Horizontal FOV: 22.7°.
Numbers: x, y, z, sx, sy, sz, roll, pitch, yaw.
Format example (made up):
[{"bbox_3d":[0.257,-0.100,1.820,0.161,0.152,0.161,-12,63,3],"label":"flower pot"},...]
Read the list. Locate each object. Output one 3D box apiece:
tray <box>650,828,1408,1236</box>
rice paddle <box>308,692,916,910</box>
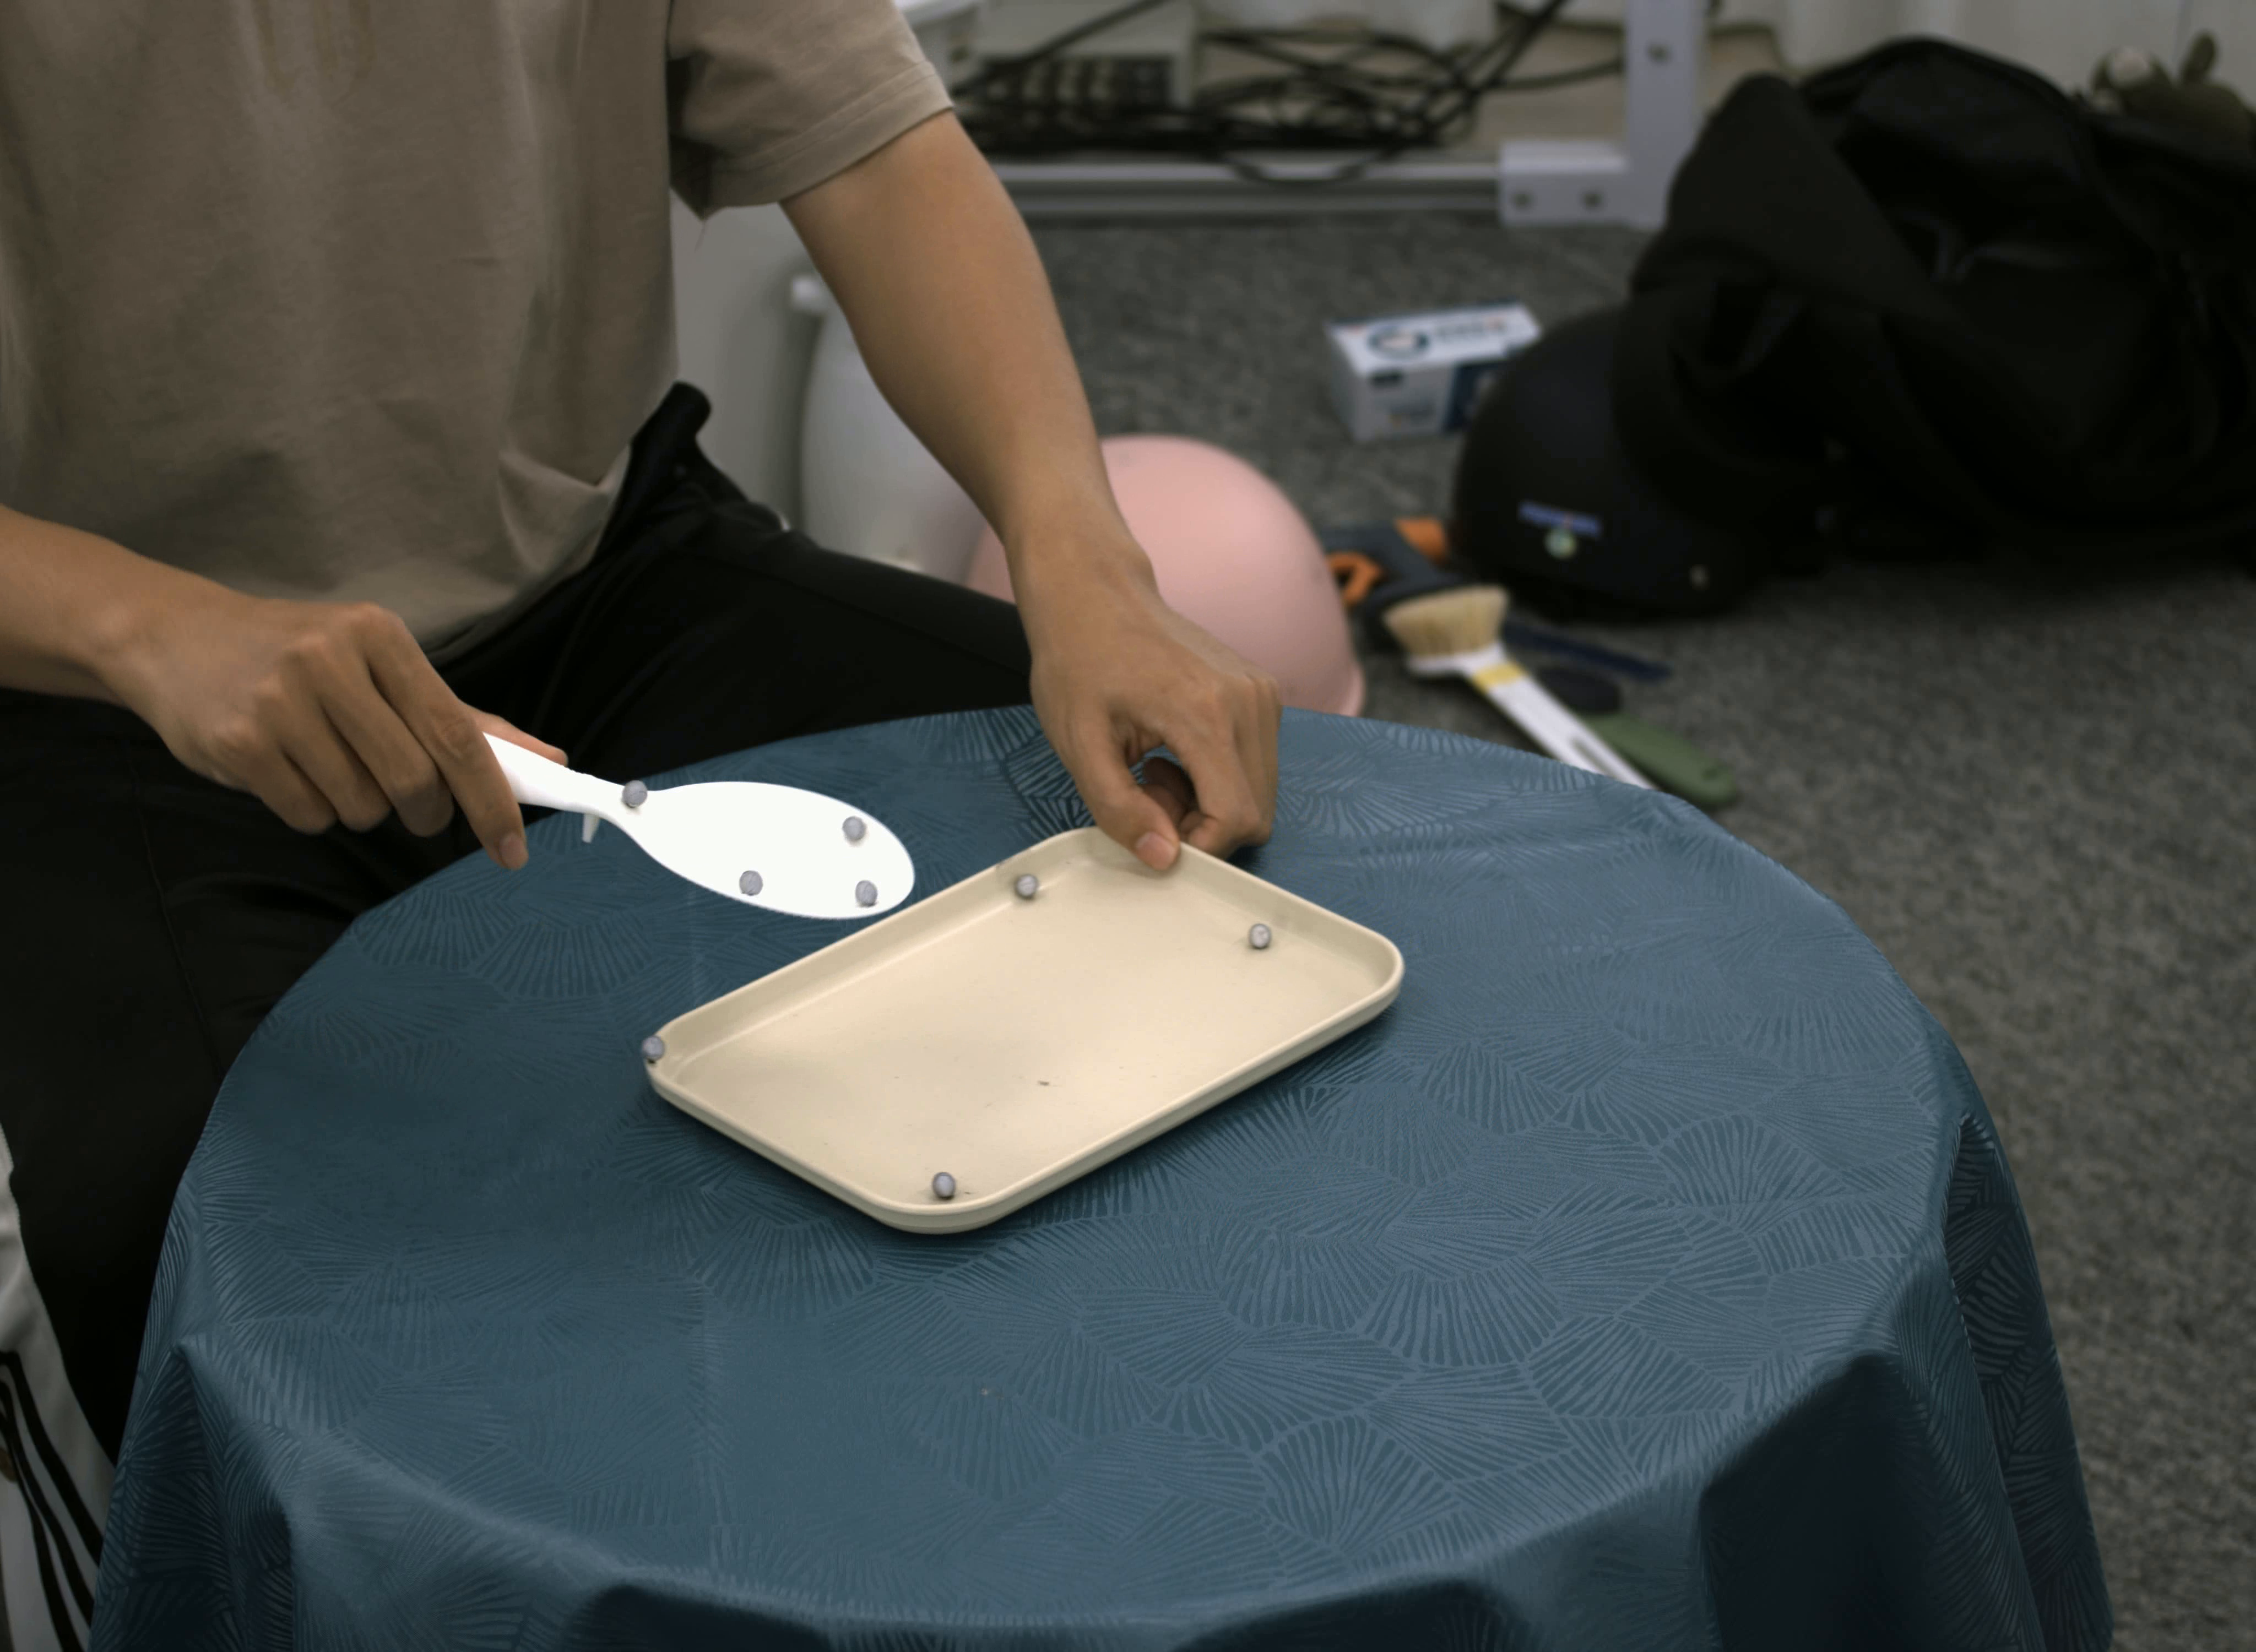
[{"bbox_3d":[-0.033,0.070,1.944,0.242,0.017,0.171,-25,36,-37],"label":"tray"},{"bbox_3d":[-0.169,-0.008,1.860,0.204,0.029,0.070,13,35,4],"label":"rice paddle"}]
